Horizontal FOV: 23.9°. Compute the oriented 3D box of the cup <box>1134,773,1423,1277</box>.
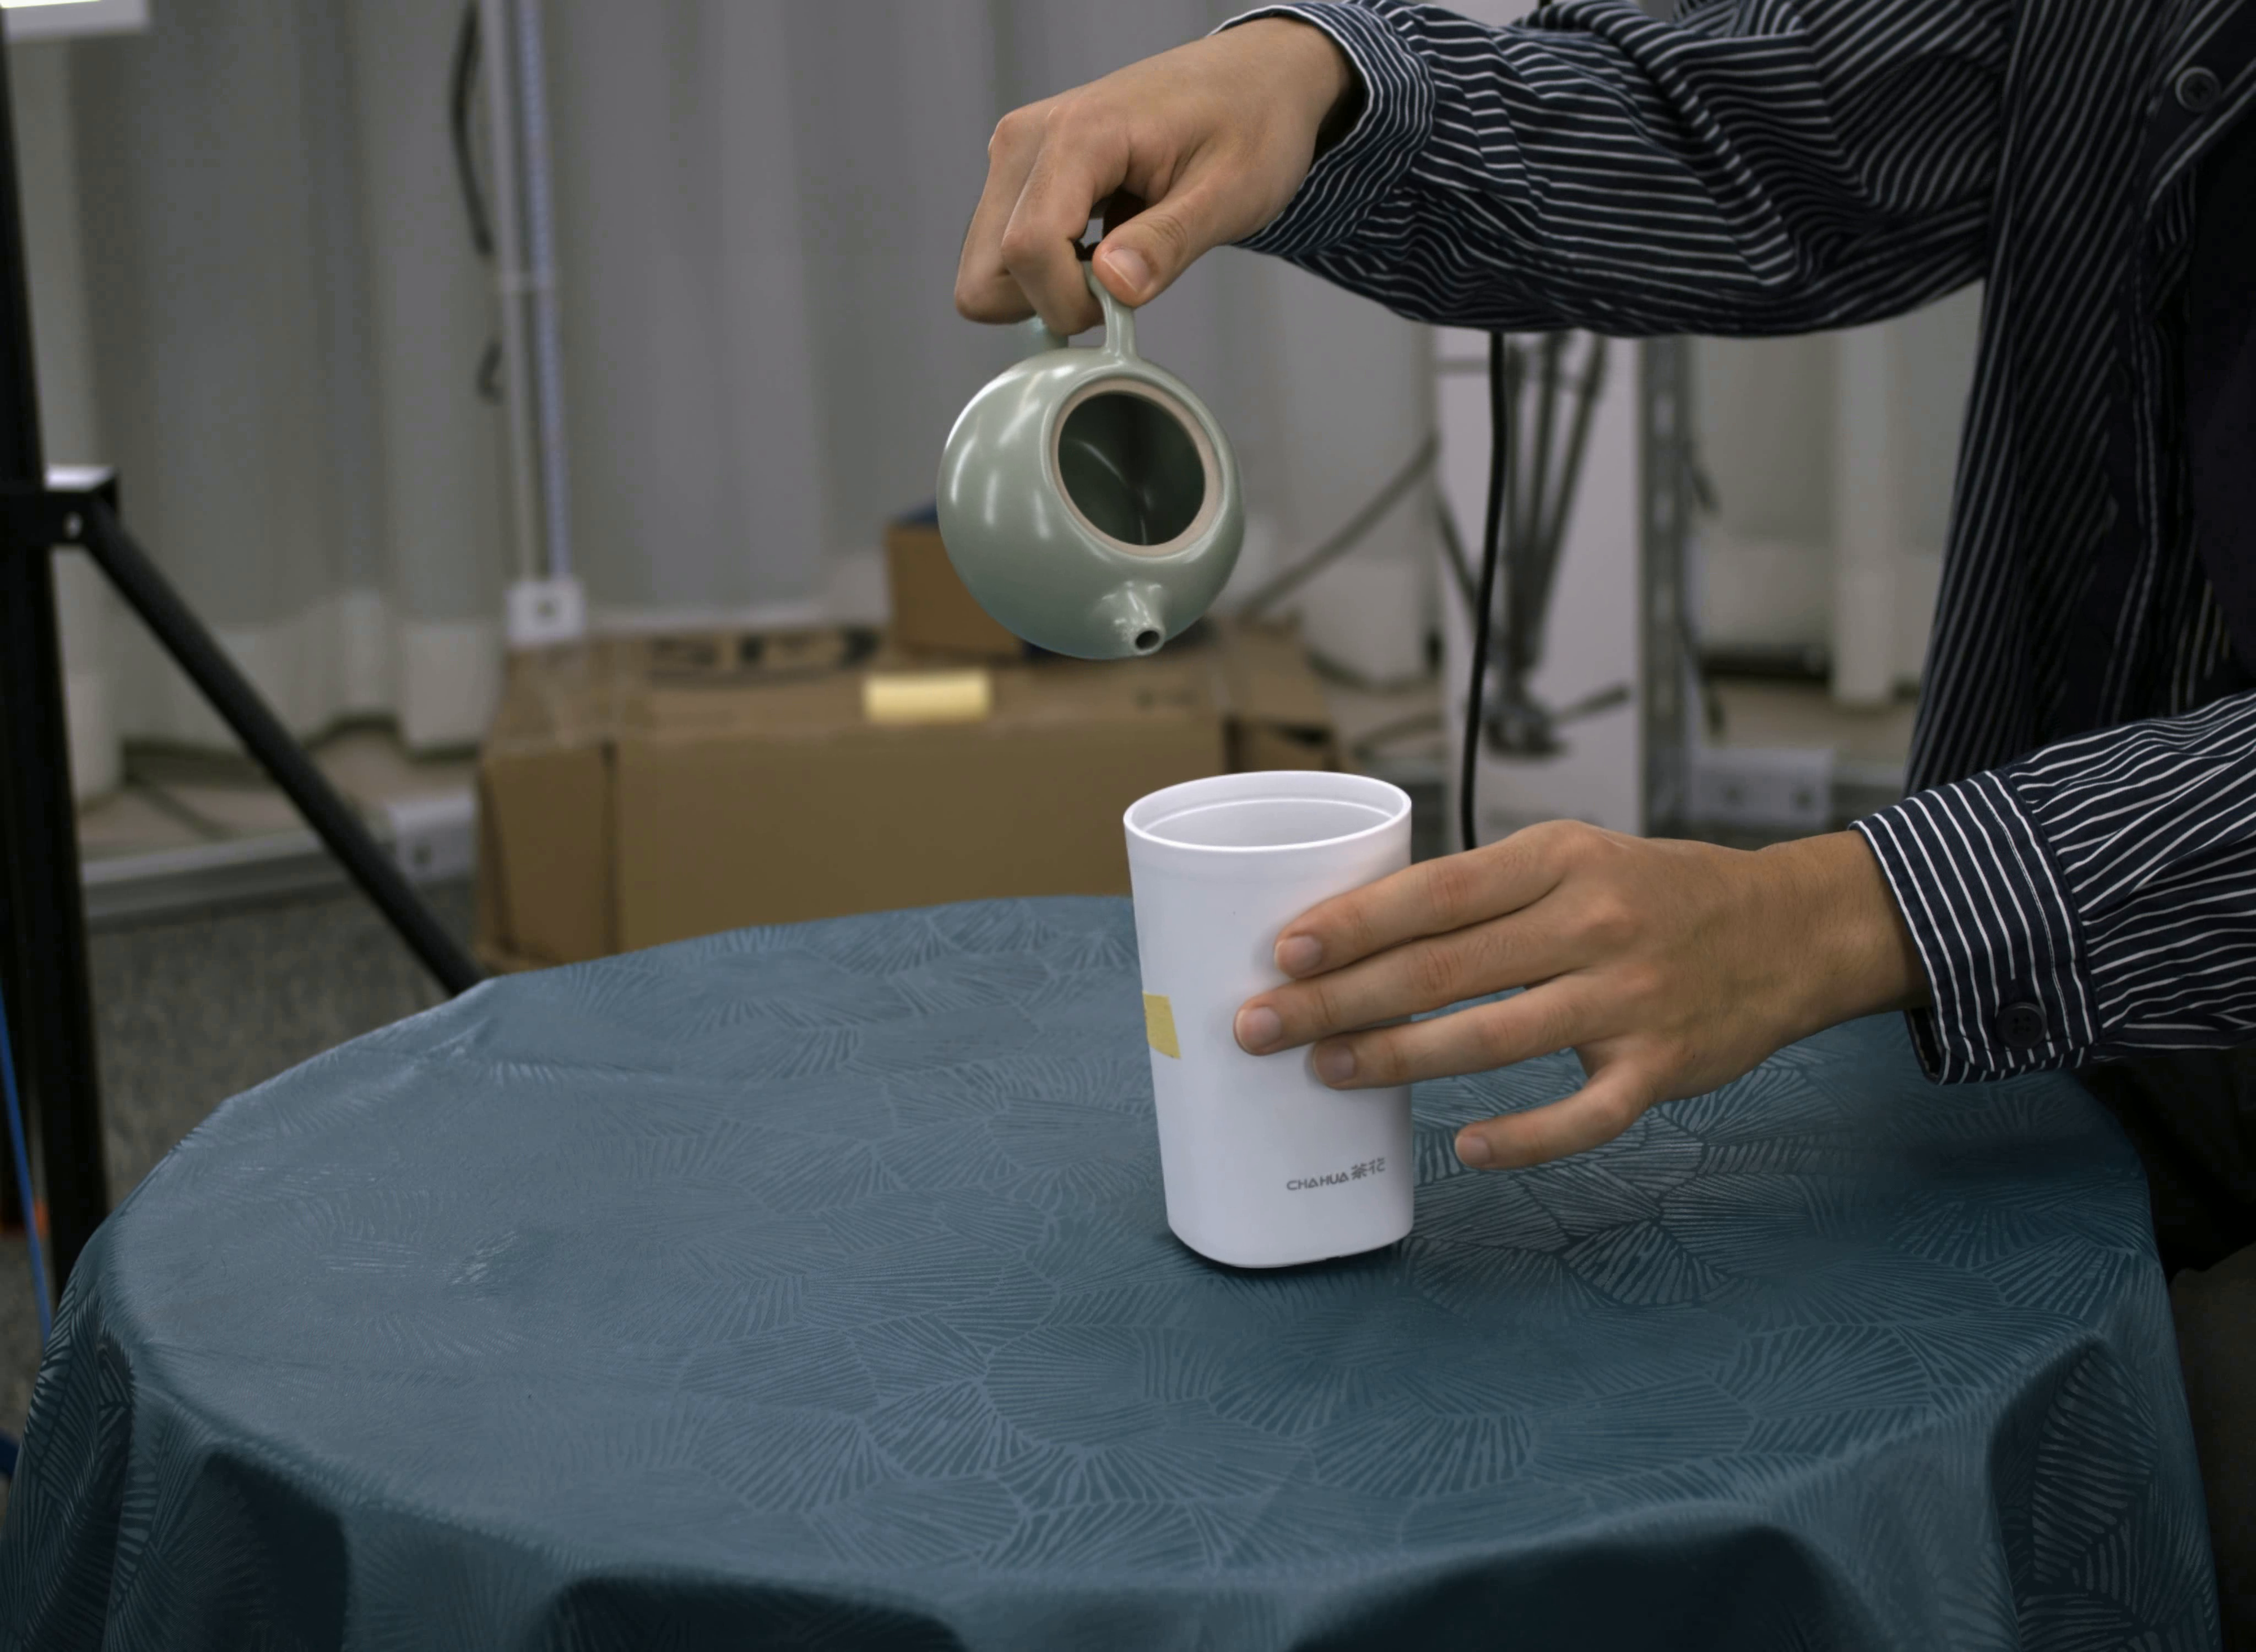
[{"bbox_3d":[0.045,0.056,1.491,0.081,0.125,0.082,-3,15,-1],"label":"cup"}]

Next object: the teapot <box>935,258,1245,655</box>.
[{"bbox_3d":[-0.011,-0.103,1.539,0.089,0.130,0.061,9,-23,-22],"label":"teapot"}]
